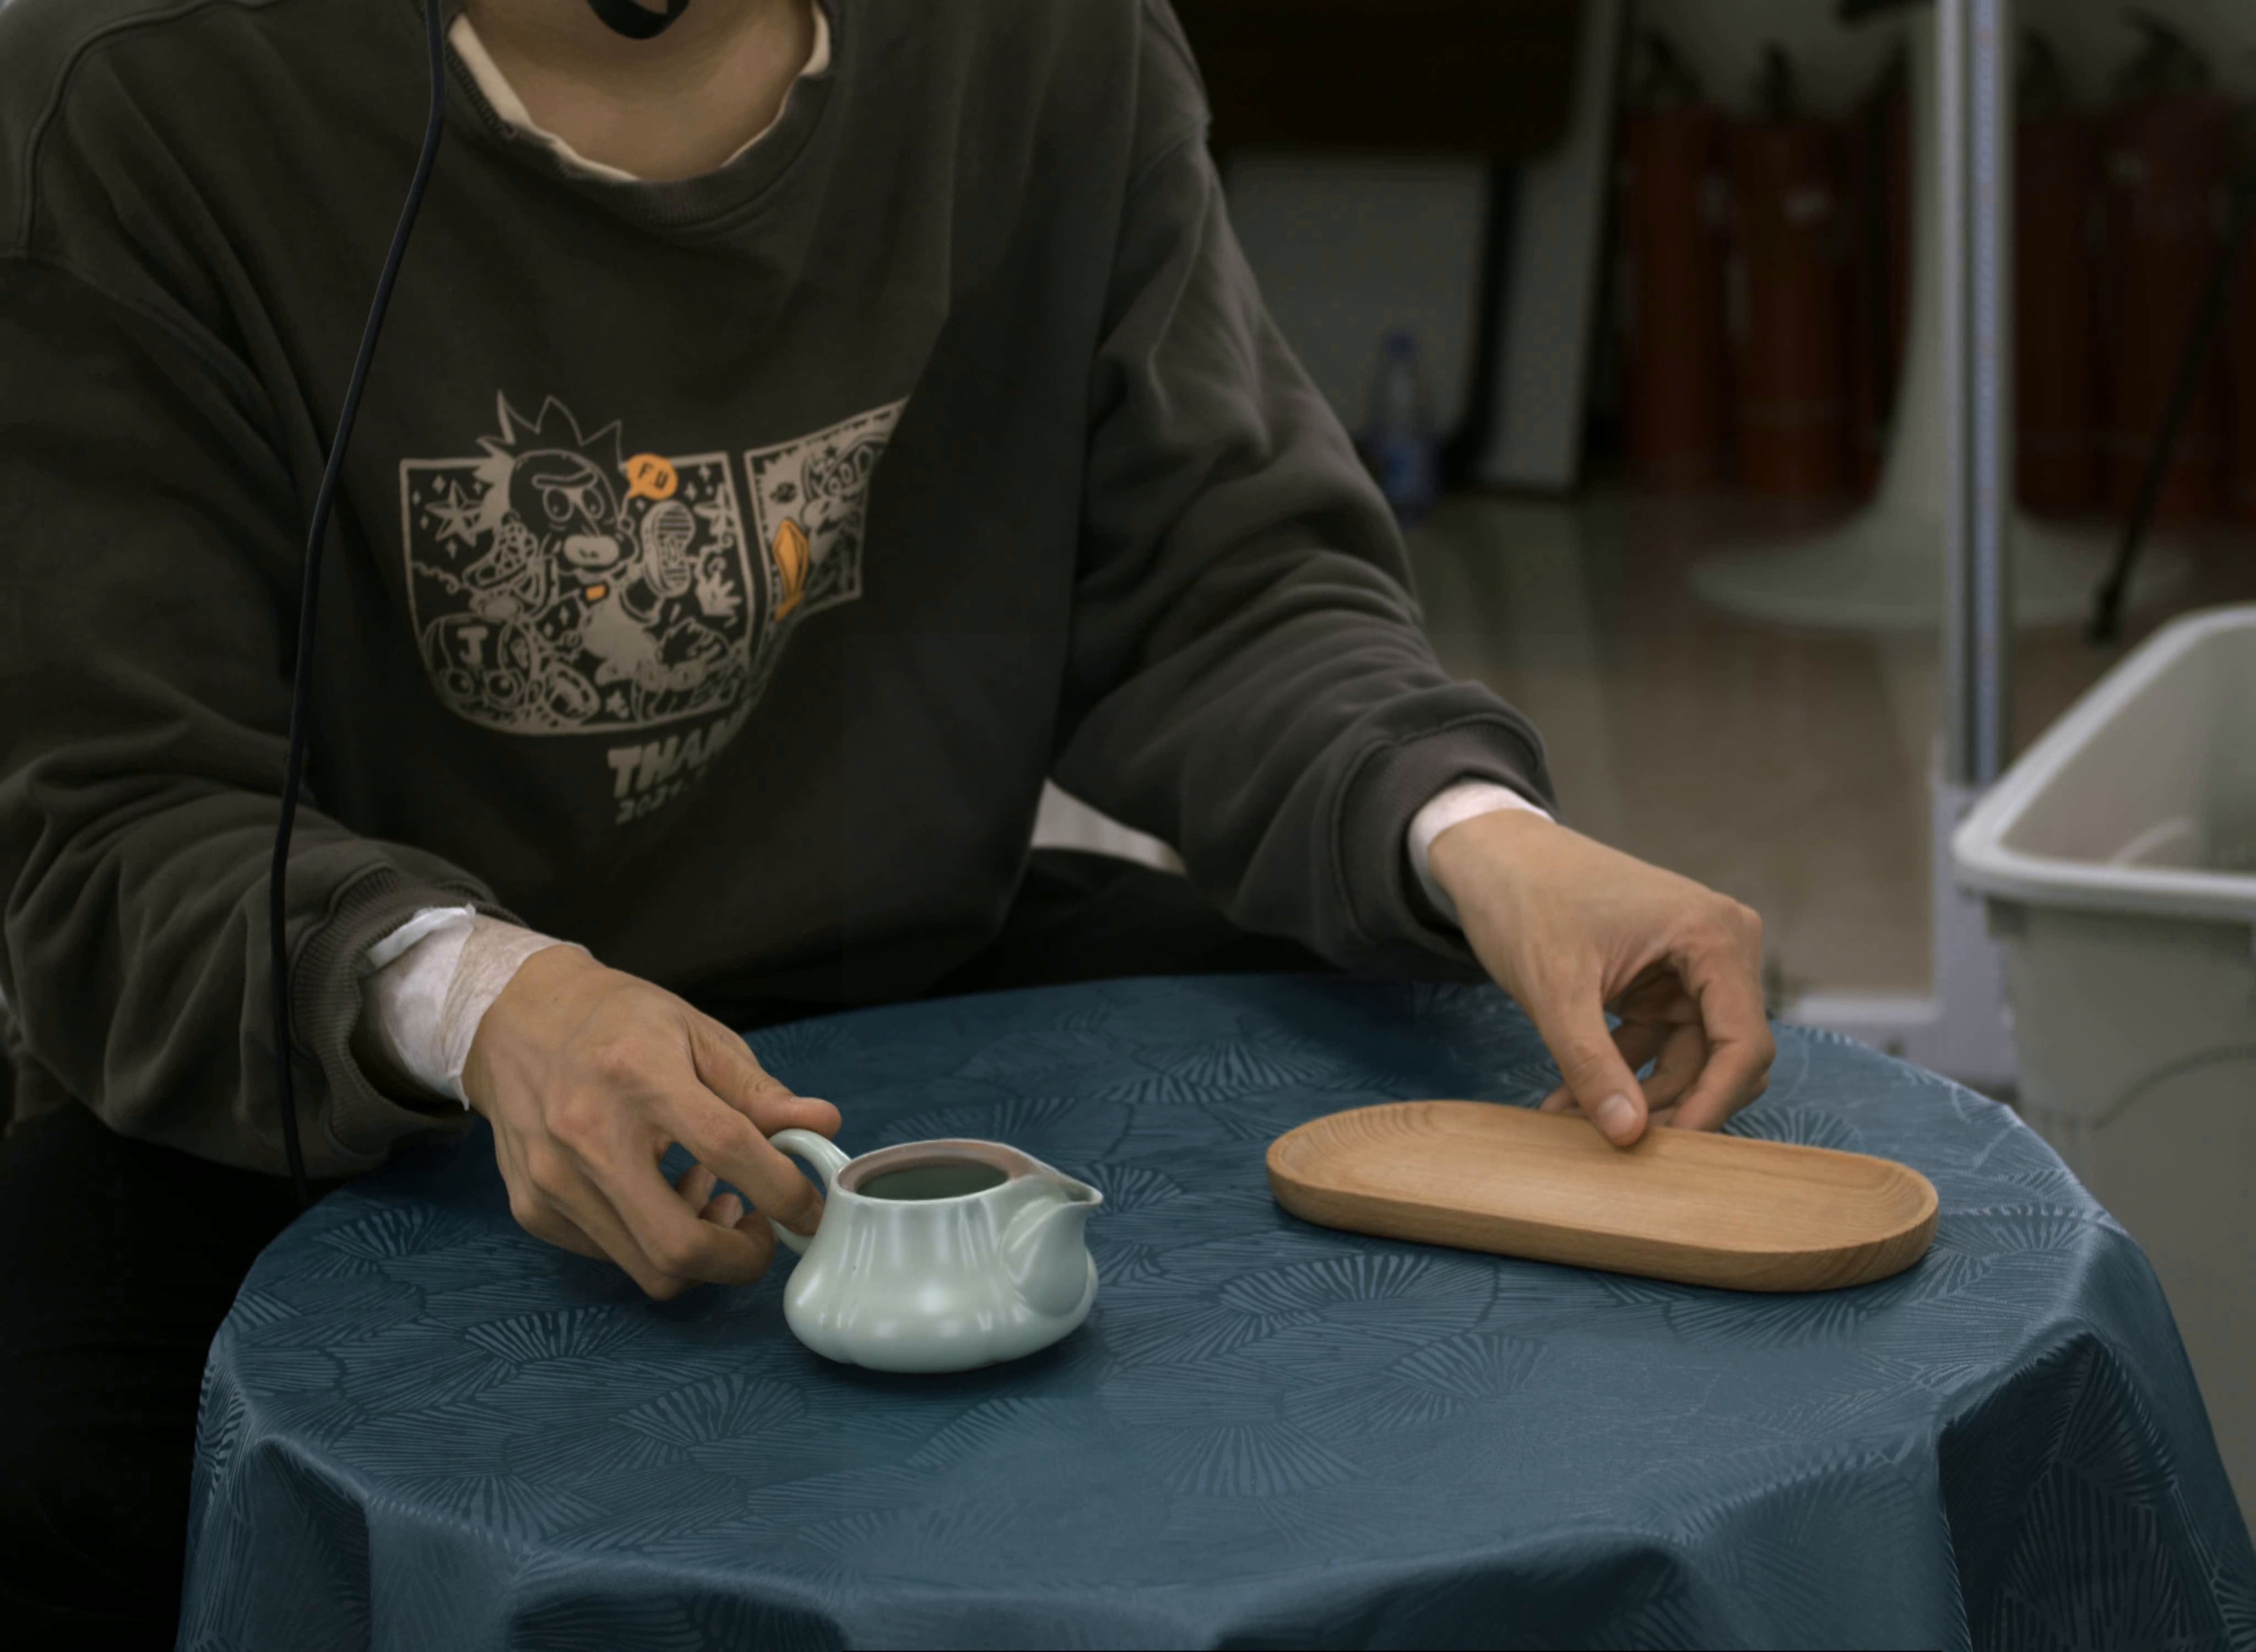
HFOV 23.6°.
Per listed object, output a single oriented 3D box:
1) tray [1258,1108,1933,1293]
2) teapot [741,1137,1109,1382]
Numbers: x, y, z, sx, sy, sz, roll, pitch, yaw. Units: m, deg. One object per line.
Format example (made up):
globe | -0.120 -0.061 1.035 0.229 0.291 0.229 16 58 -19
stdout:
tray | 0.147 0.119 1.710 0.232 0.020 0.100 4 15 34
teapot | -0.061 0.130 1.633 0.138 0.062 0.094 6 19 36
